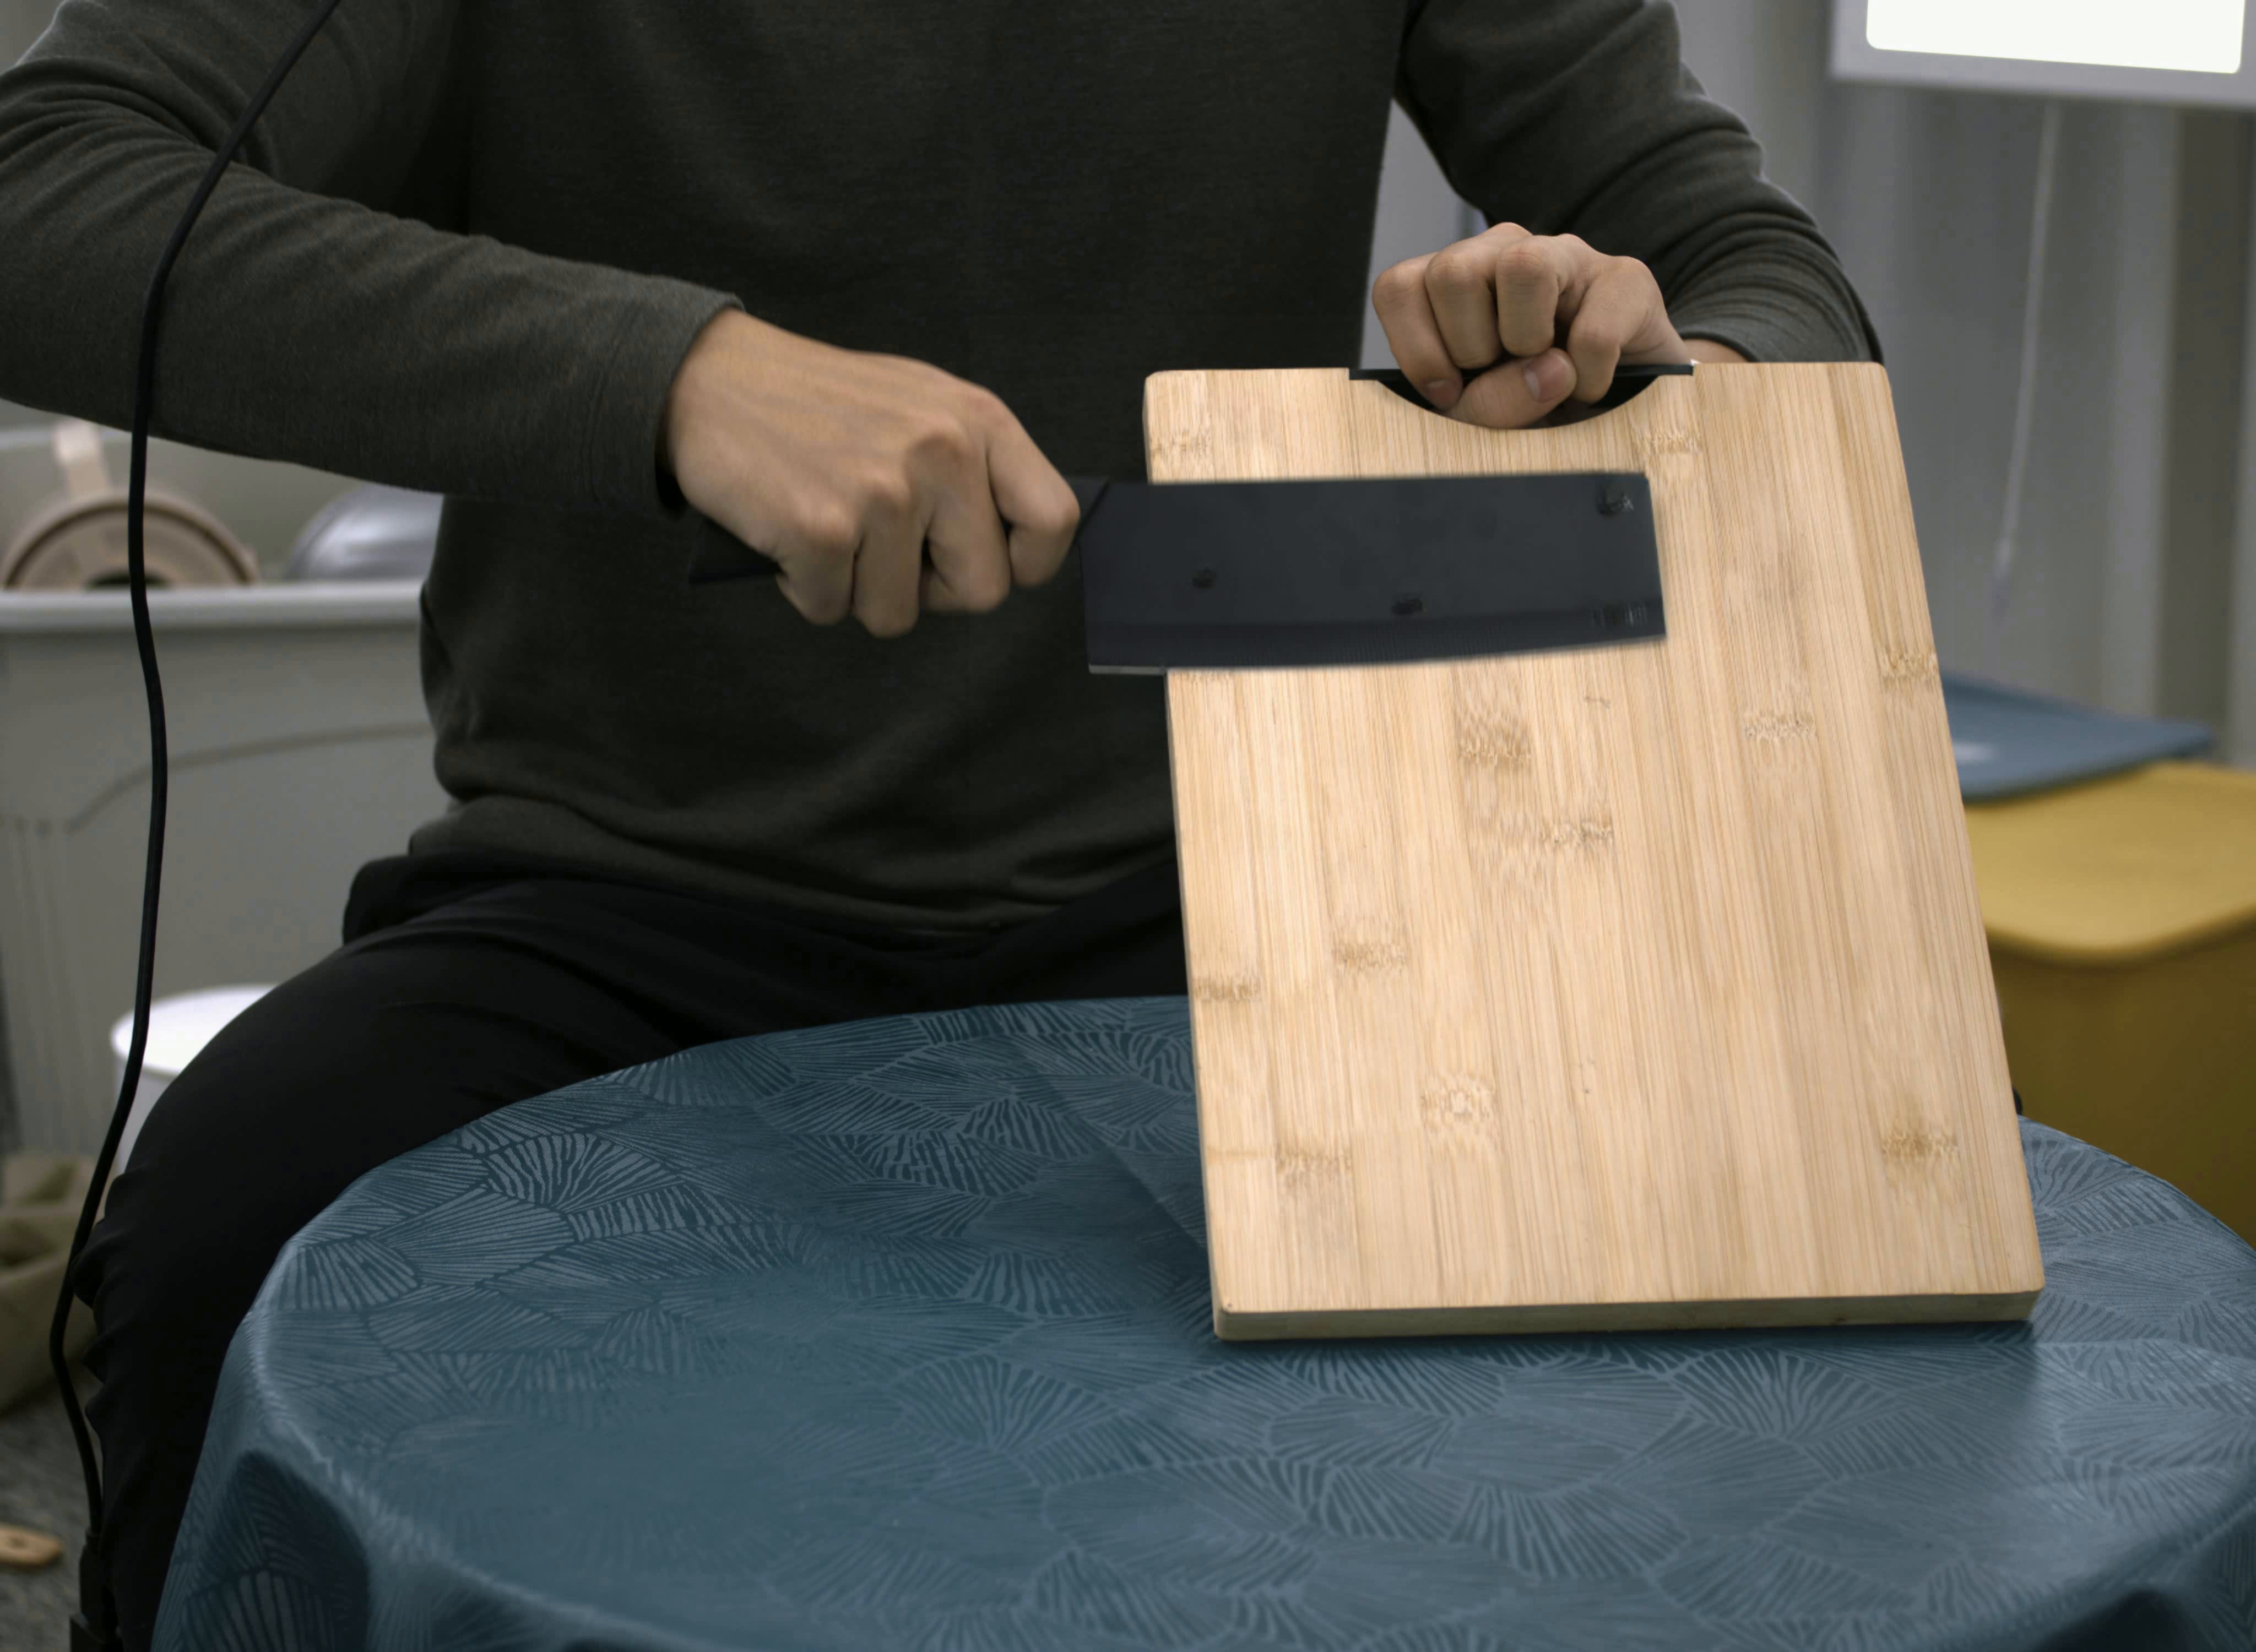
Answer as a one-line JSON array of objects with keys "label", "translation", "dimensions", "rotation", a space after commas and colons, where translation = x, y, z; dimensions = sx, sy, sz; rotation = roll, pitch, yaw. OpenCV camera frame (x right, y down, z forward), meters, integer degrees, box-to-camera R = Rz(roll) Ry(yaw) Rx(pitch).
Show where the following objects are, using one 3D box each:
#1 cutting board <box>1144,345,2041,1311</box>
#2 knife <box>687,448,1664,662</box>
[{"label": "cutting board", "translation": [0.134, -0.005, 1.600], "dimensions": [0.250, 0.024, 0.346], "rotation": [-1, 57, -6]}, {"label": "knife", "translation": [0.016, -0.085, 1.624], "dimensions": [0.302, 0.080, 0.021], "rotation": [2, -26, -4]}]
